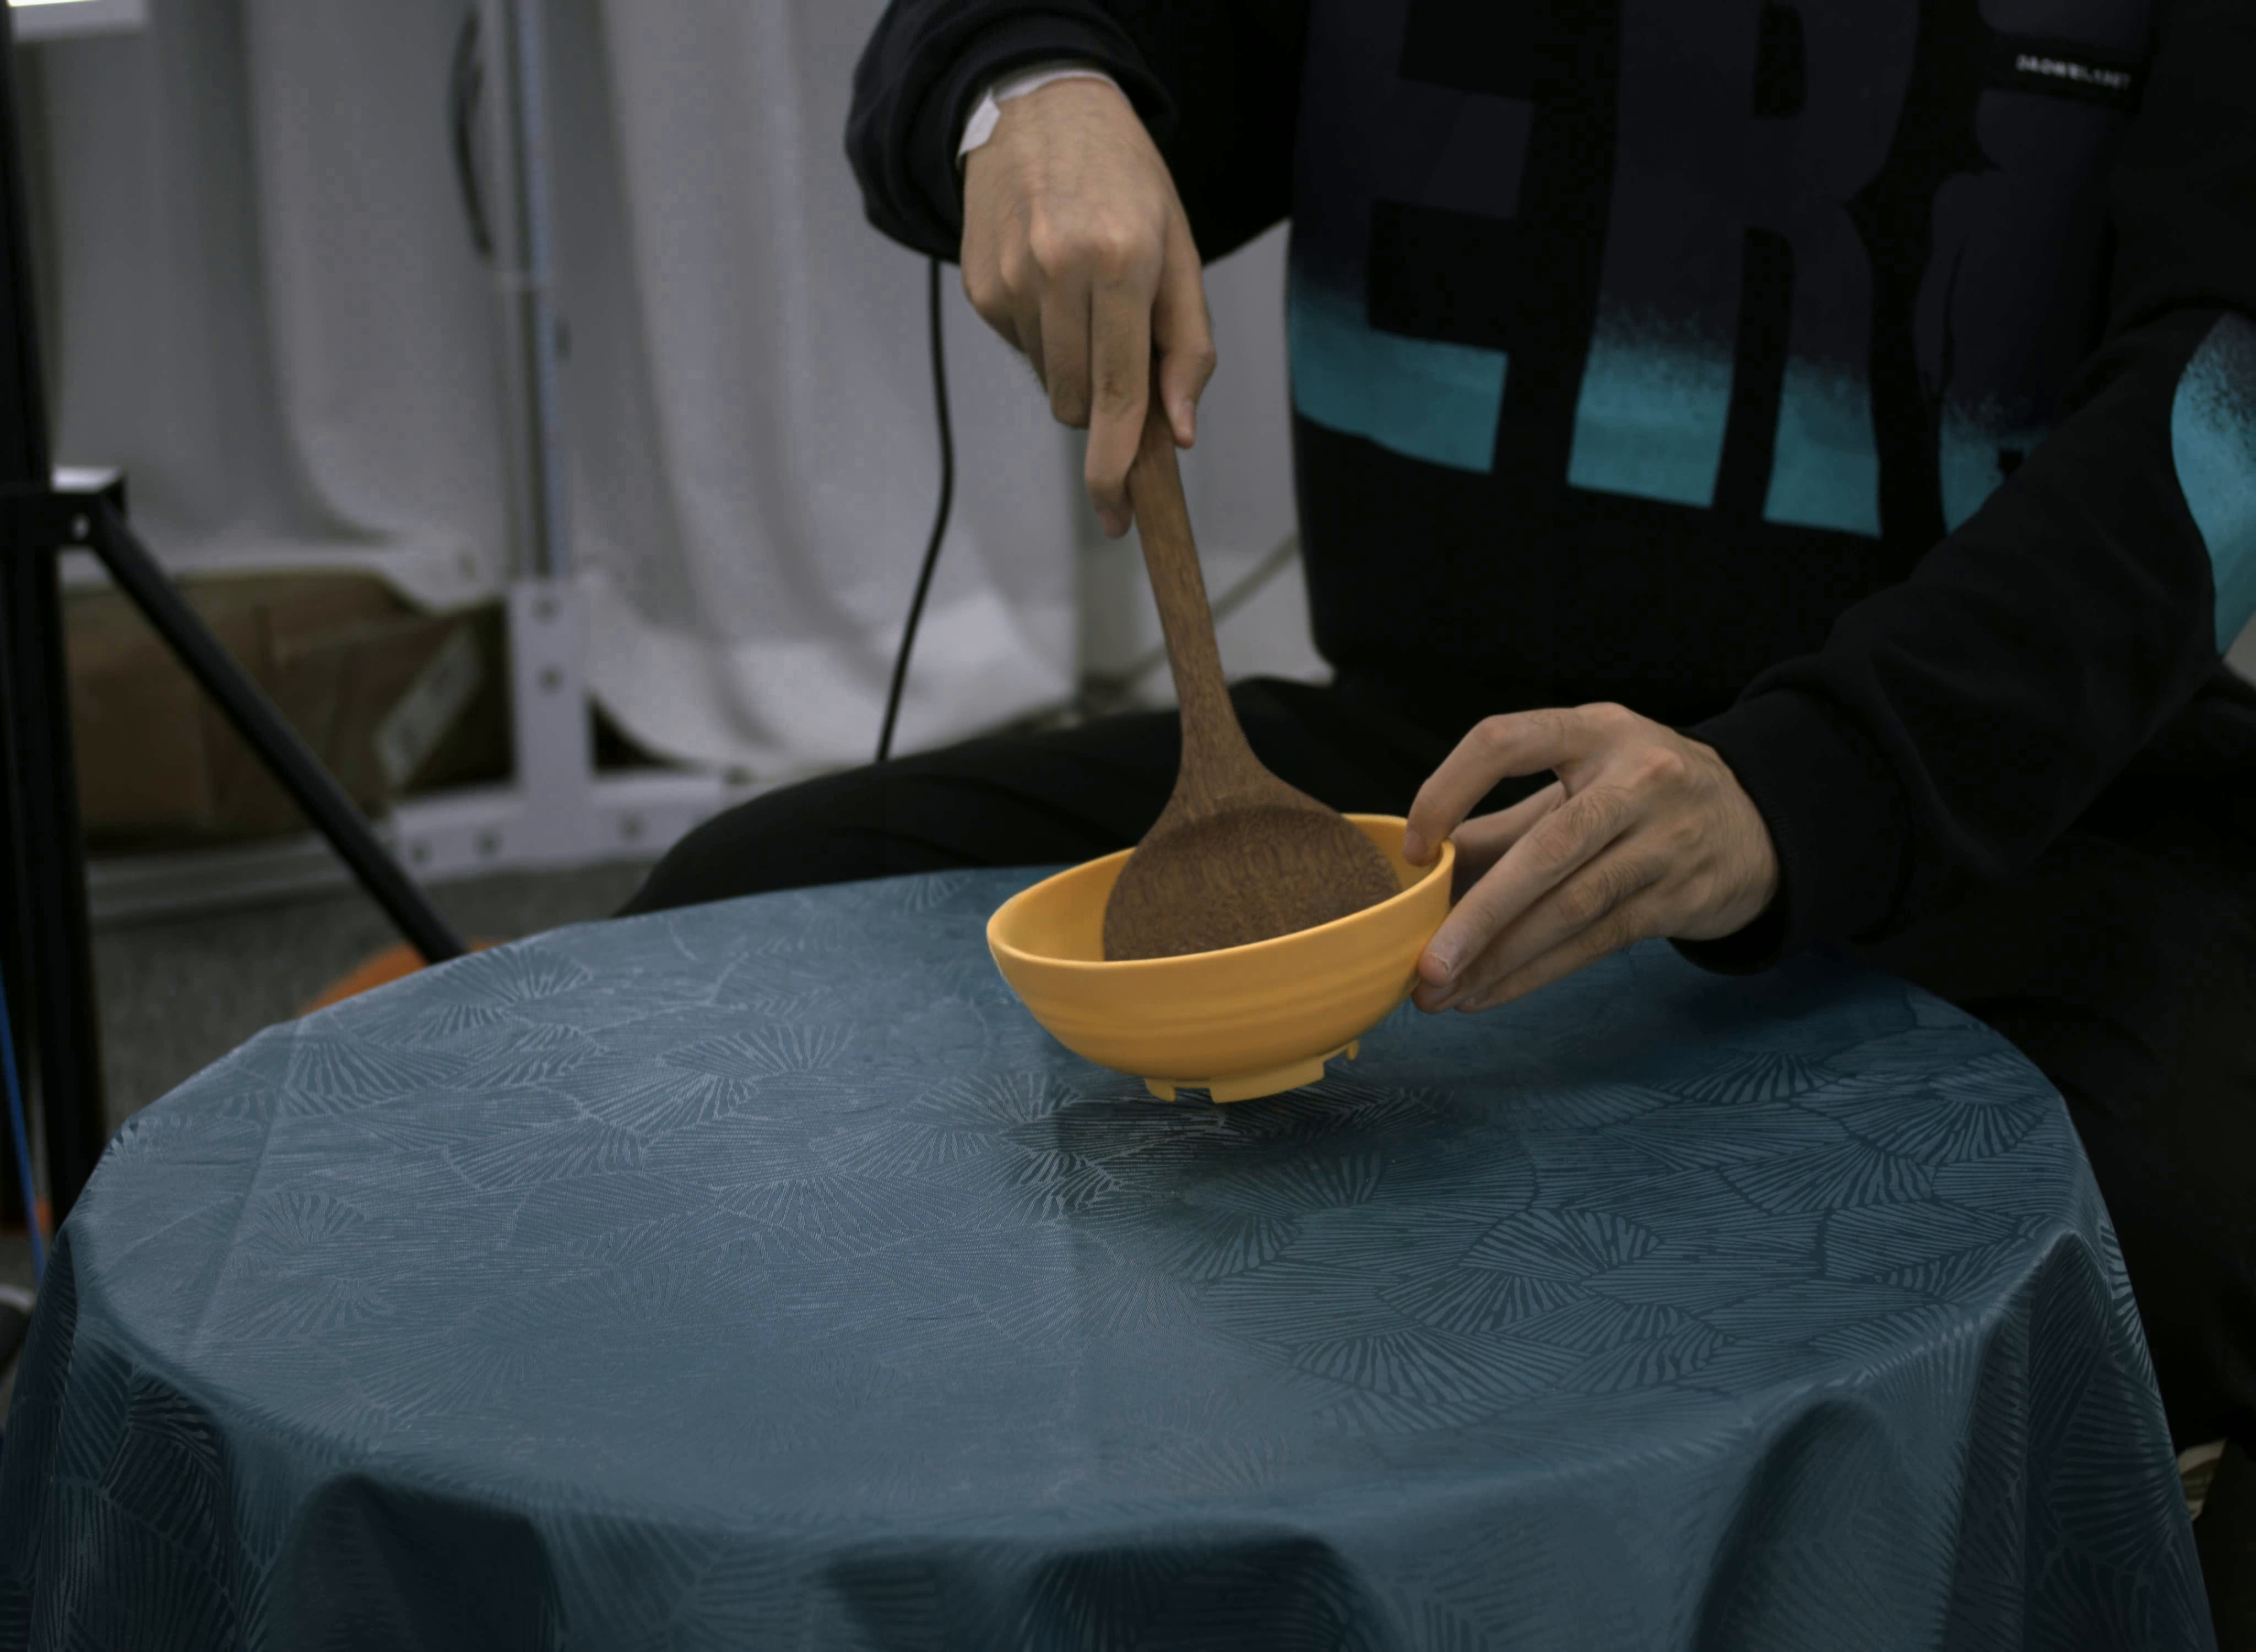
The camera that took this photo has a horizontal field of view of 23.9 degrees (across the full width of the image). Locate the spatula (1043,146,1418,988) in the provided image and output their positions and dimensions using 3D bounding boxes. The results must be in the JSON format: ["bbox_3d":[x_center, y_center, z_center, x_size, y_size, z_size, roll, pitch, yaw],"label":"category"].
[{"bbox_3d":[0.015,-0.084,1.706,0.096,0.015,0.392,-14,52,3],"label":"spatula"}]

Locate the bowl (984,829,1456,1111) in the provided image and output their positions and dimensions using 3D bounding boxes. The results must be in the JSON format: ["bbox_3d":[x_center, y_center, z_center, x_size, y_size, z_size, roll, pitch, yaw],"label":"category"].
[{"bbox_3d":[0.031,0.049,1.615,0.145,0.060,0.146,-8,14,1],"label":"bowl"}]
